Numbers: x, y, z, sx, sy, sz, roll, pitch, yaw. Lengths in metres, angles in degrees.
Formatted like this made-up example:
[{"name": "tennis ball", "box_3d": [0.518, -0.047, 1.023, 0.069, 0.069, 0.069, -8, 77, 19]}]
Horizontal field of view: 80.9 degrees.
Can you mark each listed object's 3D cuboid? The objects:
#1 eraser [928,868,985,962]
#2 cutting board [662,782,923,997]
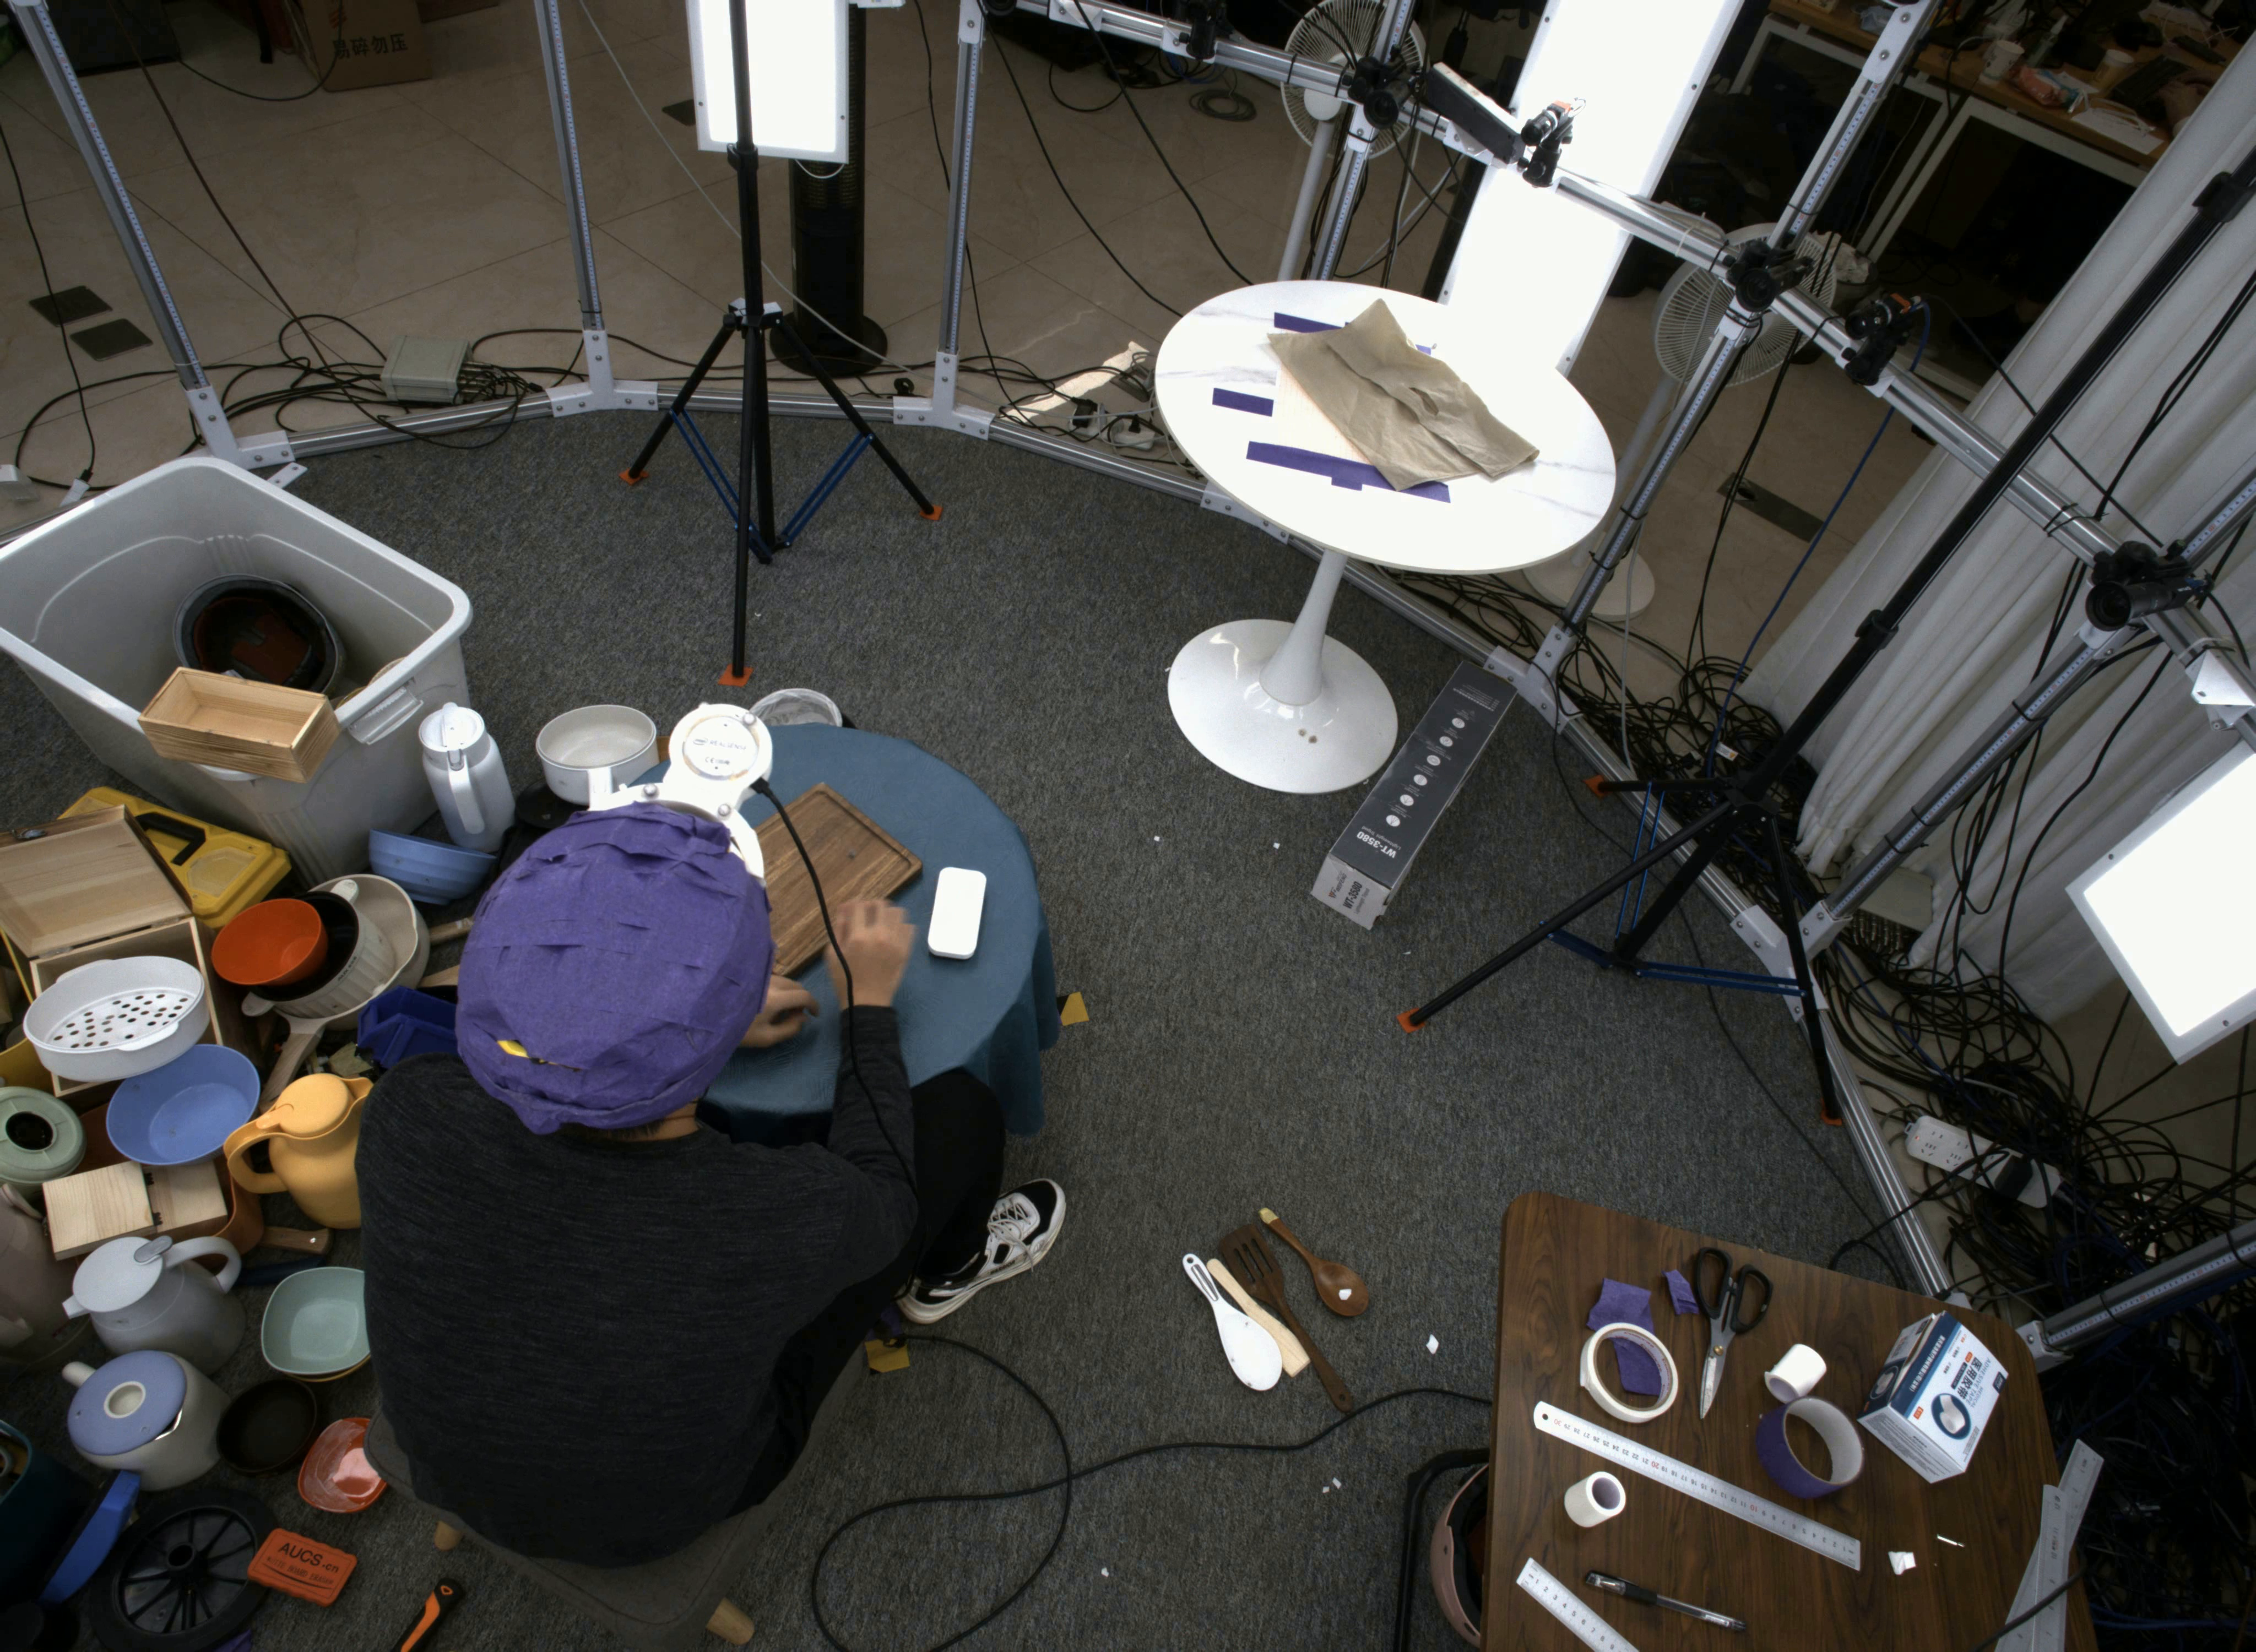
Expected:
[{"name": "eraser", "box_3d": [-0.221, 0.110, 1.670, 0.063, 0.035, 0.129, 11, 51, -8]}, {"name": "cutting board", "box_3d": [-0.445, 0.092, 1.630, 0.197, 0.023, 0.352, 37, 54, 14]}]
